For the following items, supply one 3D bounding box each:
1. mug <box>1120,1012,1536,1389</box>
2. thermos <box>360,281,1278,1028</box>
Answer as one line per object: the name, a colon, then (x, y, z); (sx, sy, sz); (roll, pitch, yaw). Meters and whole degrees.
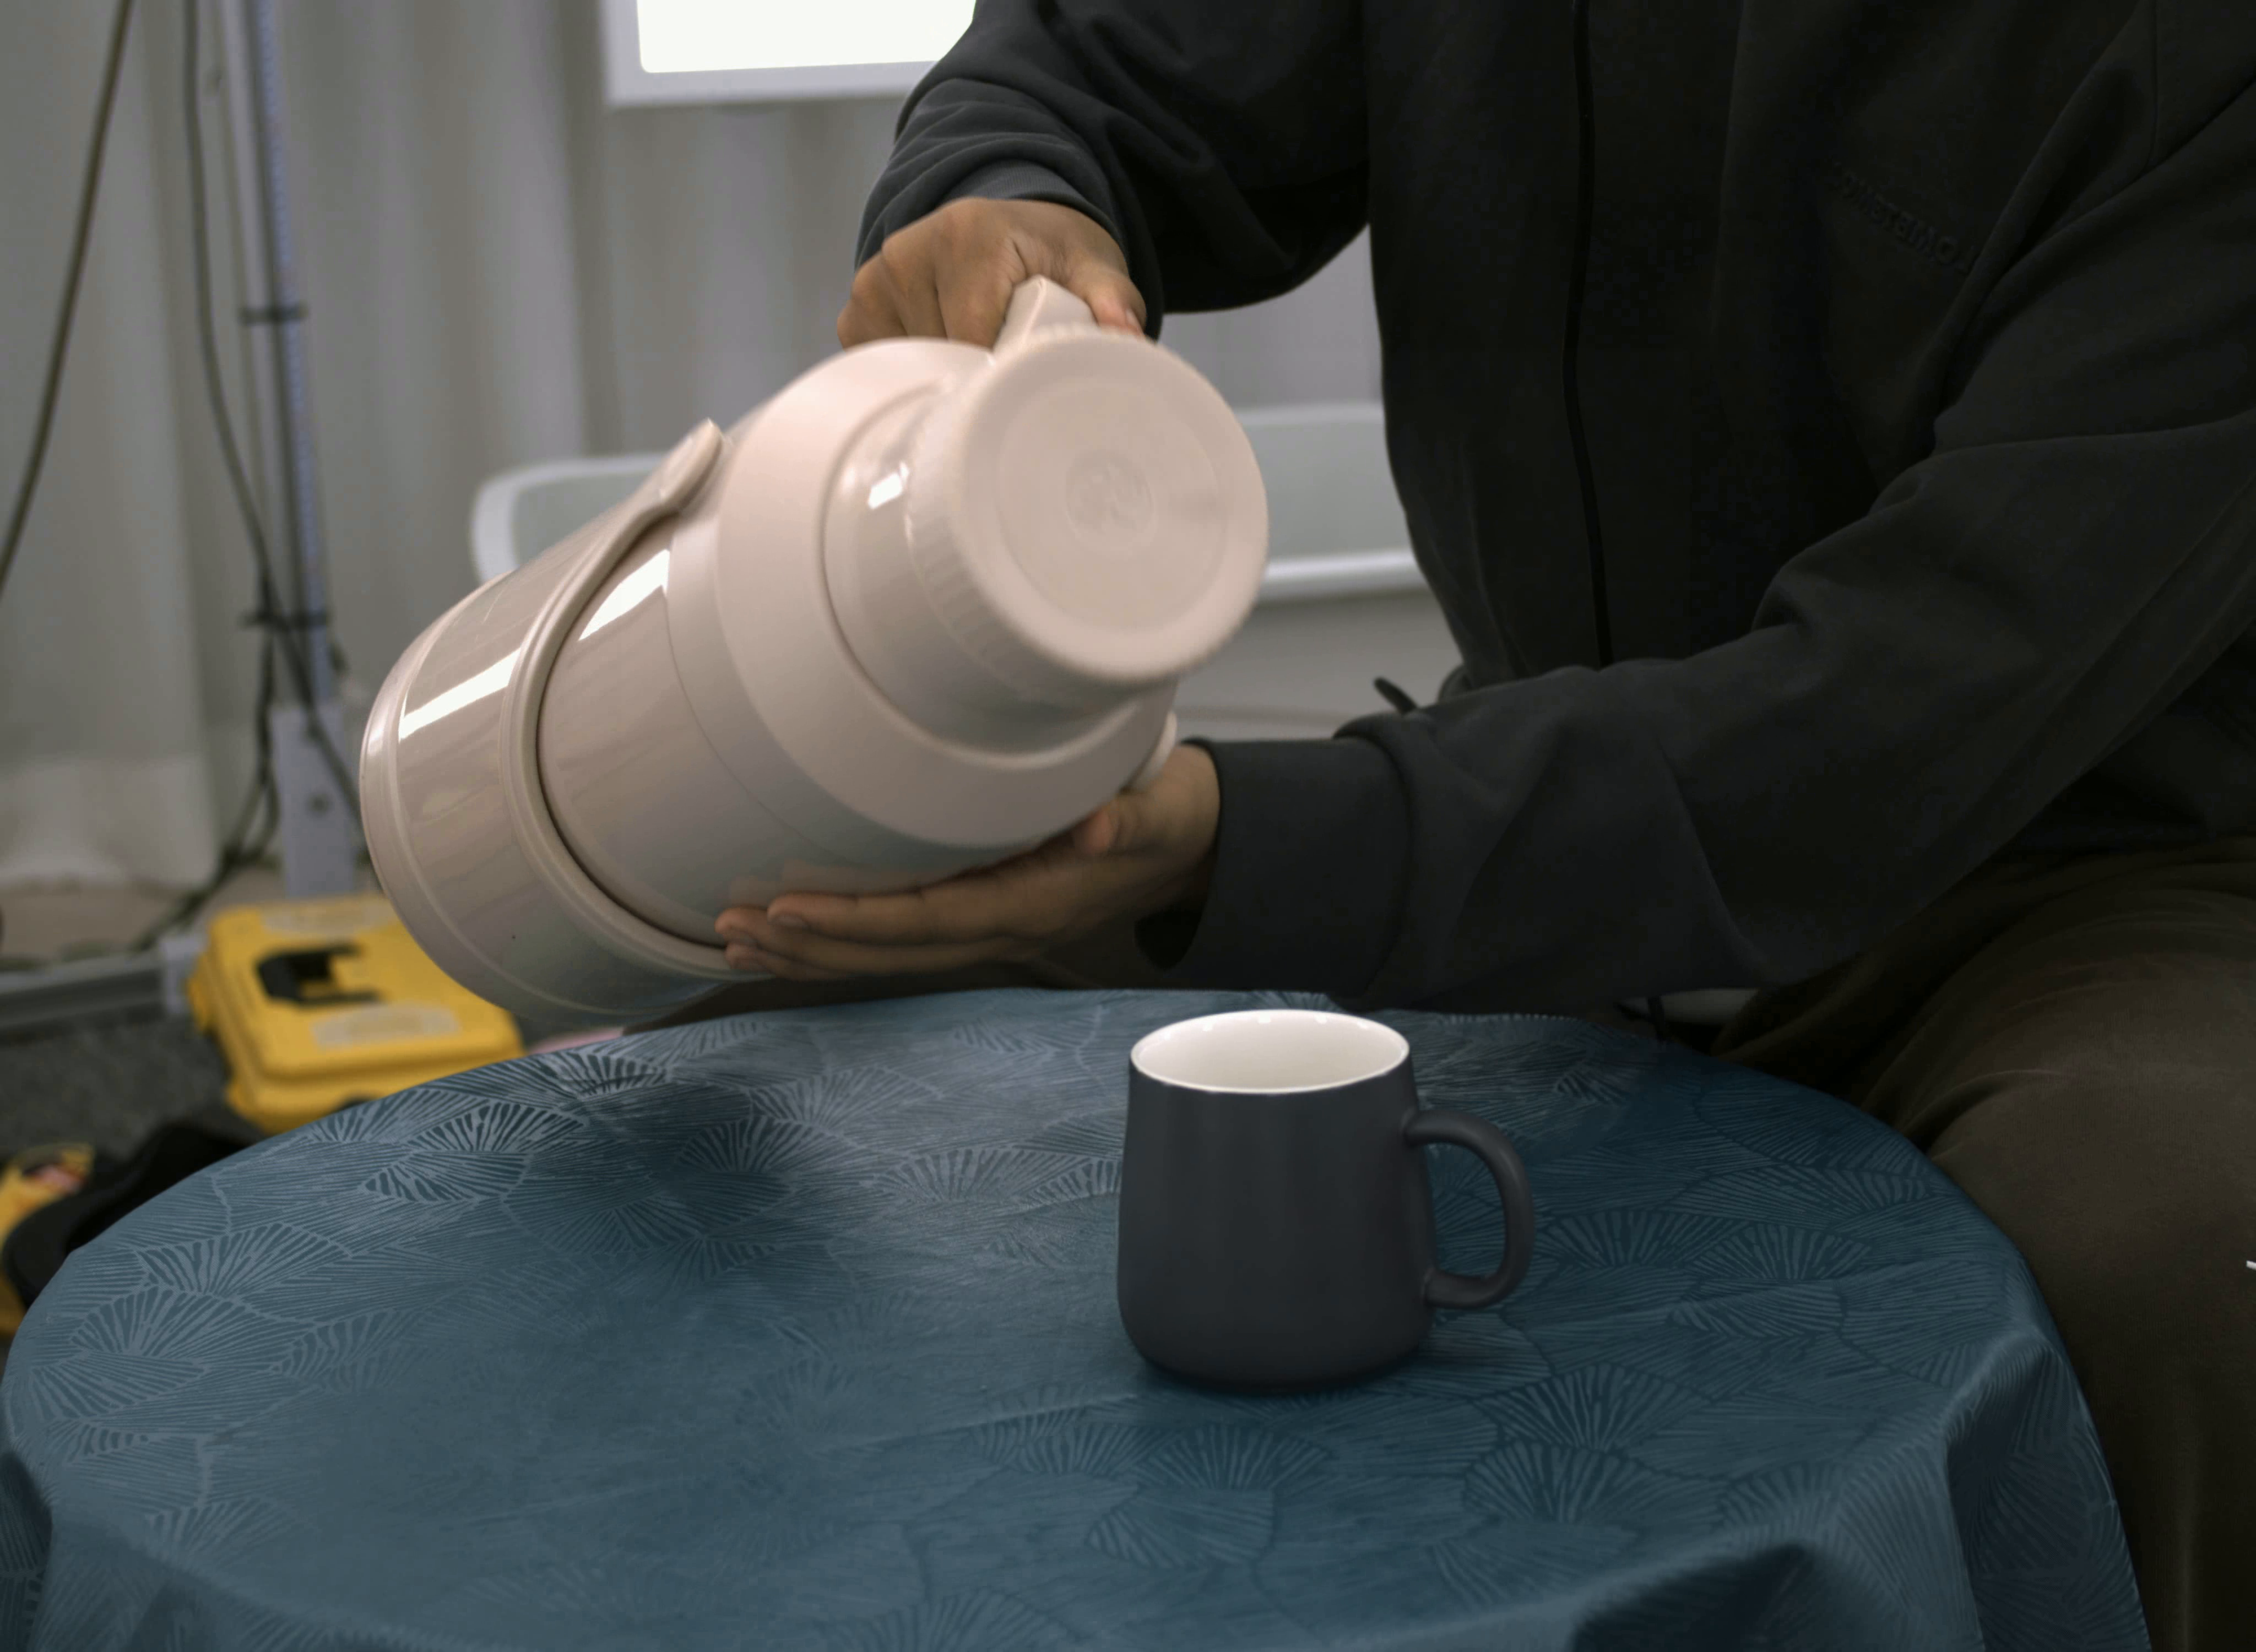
mug: (0.057, 0.108, 1.559); (0.123, 0.089, 0.094); (3, 15, 23)
thermos: (-0.091, -0.060, 1.720); (0.174, 0.209, 0.405); (31, -25, -18)
